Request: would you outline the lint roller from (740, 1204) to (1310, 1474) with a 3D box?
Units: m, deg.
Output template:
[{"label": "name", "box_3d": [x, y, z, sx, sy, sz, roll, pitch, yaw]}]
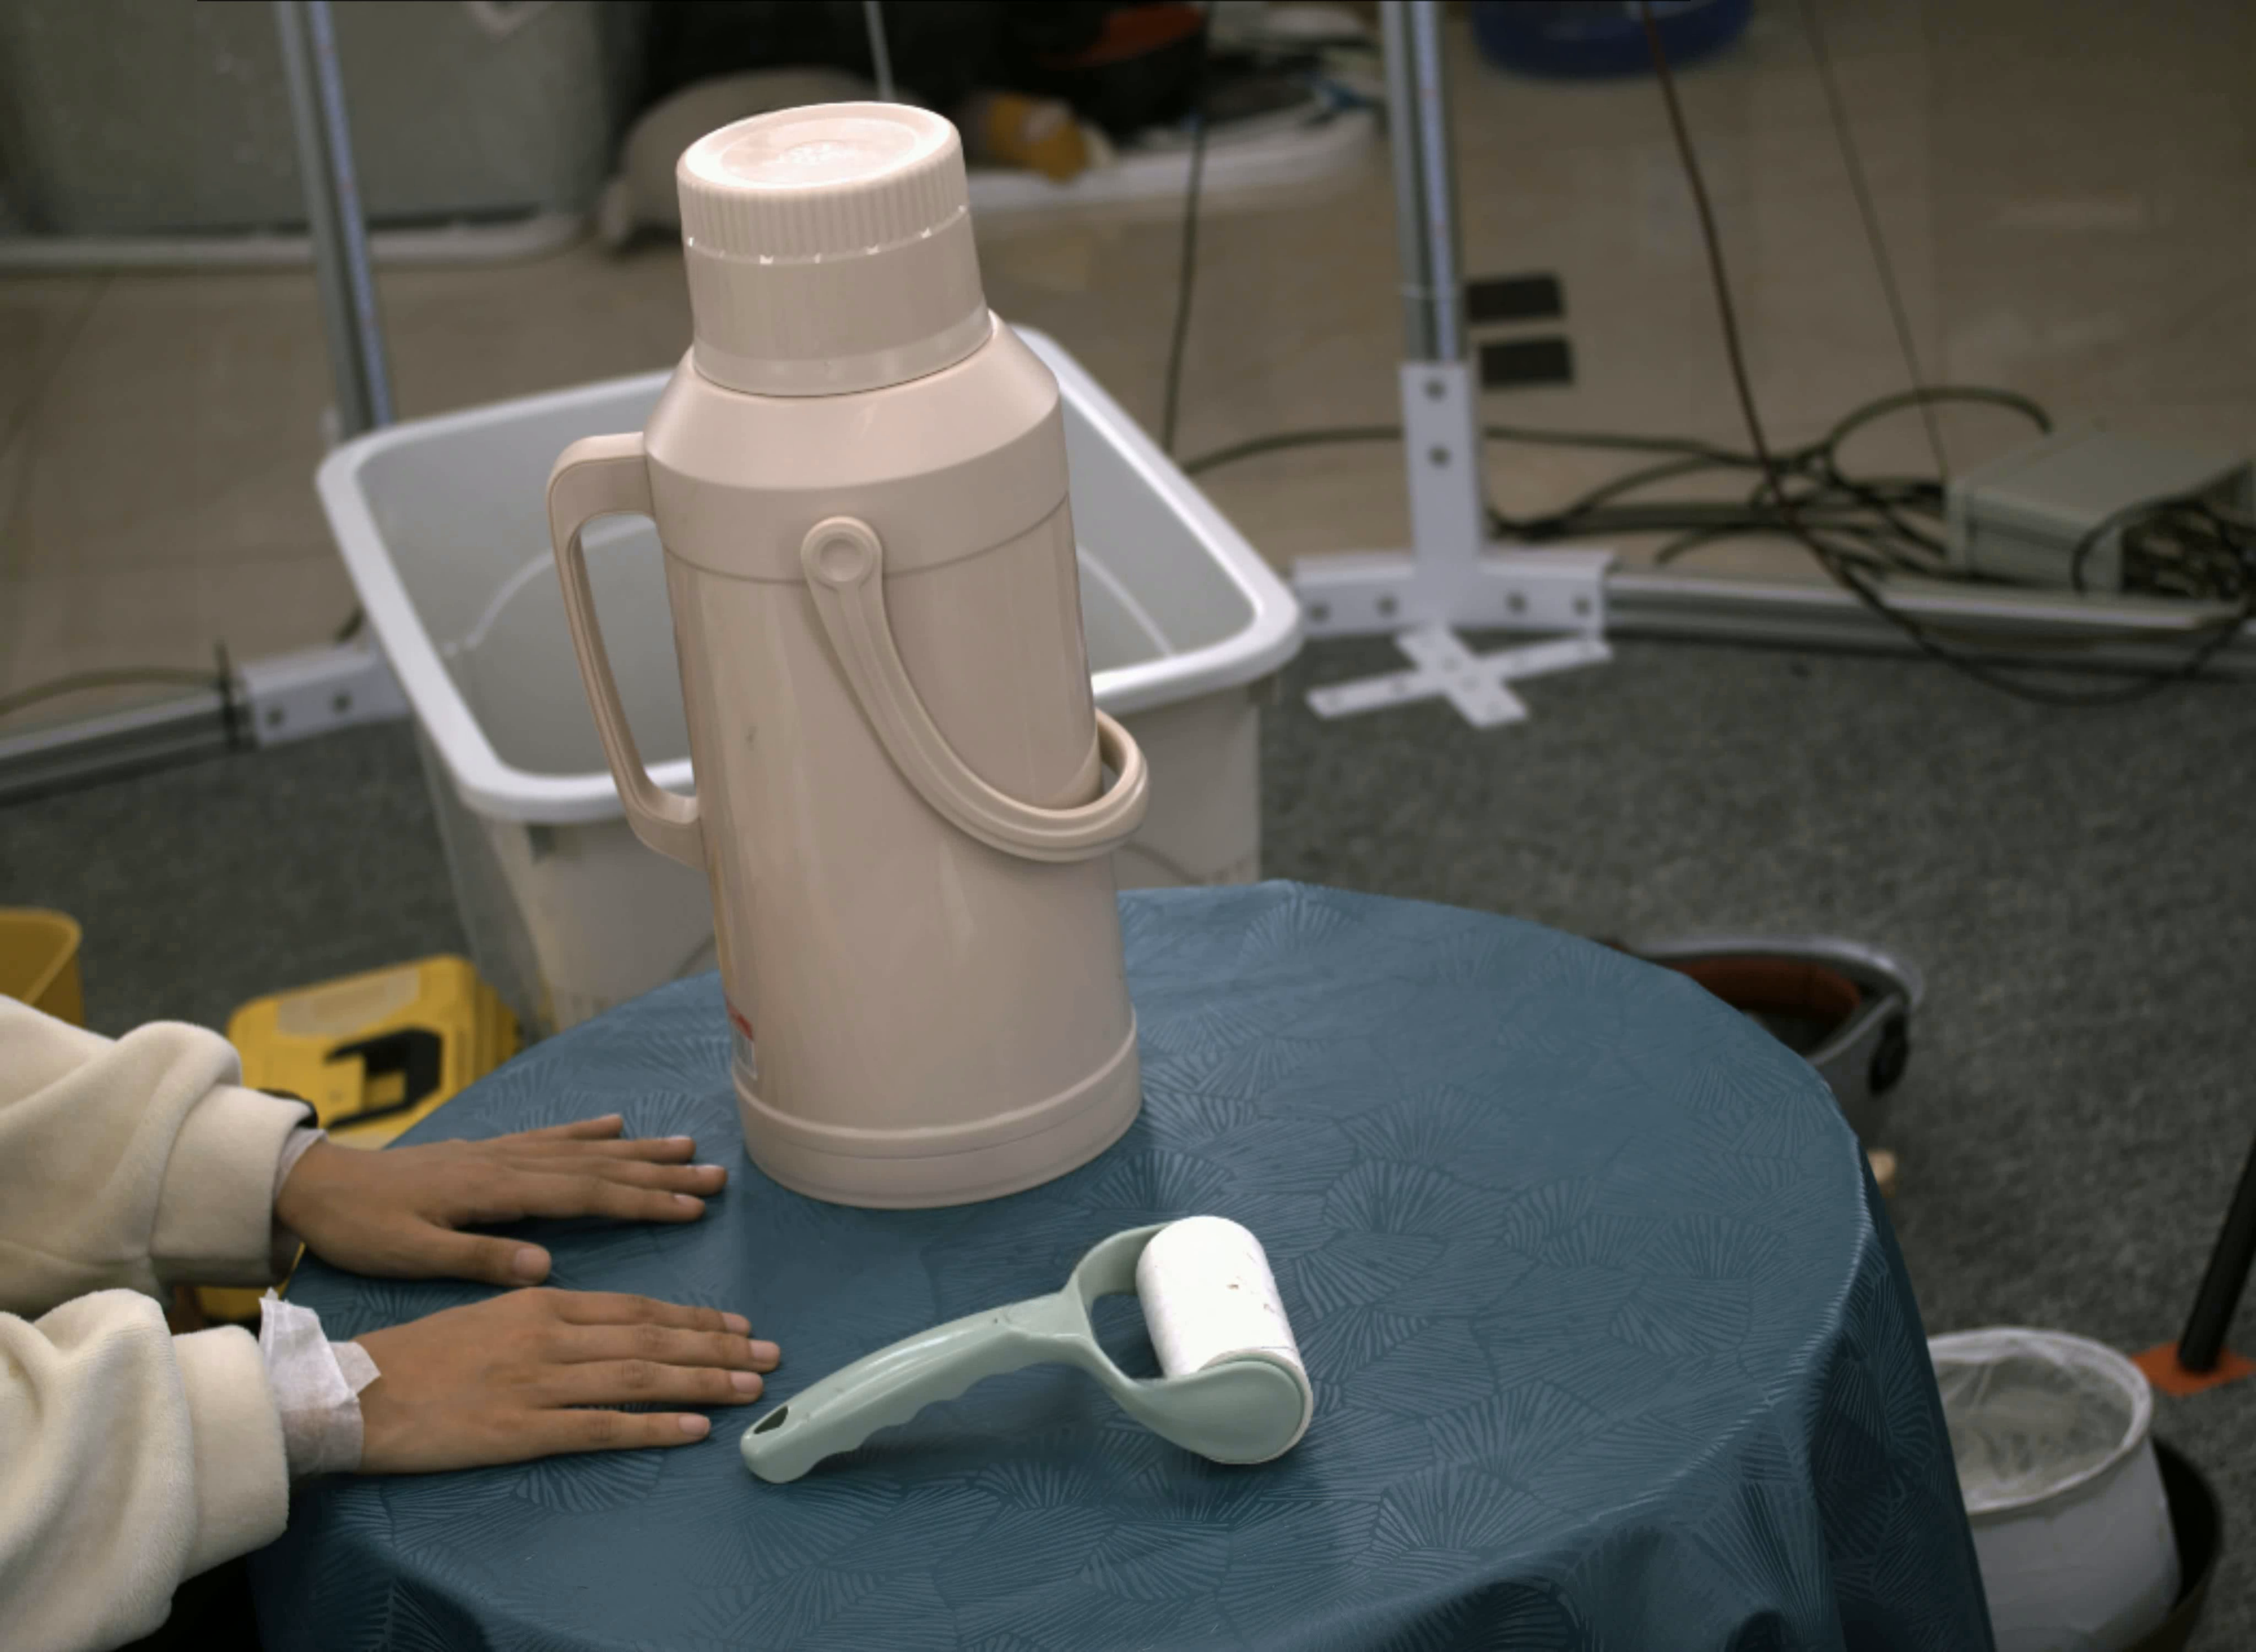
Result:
[{"label": "lint roller", "box_3d": [-0.041, 0.188, 1.997, 0.197, 0.049, 0.115, -8, 27, -5]}]

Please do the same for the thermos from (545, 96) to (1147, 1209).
[{"label": "thermos", "box_3d": [-0.106, -0.065, 2.136, 0.207, 0.413, 0.172, -5, 26, 4]}]
